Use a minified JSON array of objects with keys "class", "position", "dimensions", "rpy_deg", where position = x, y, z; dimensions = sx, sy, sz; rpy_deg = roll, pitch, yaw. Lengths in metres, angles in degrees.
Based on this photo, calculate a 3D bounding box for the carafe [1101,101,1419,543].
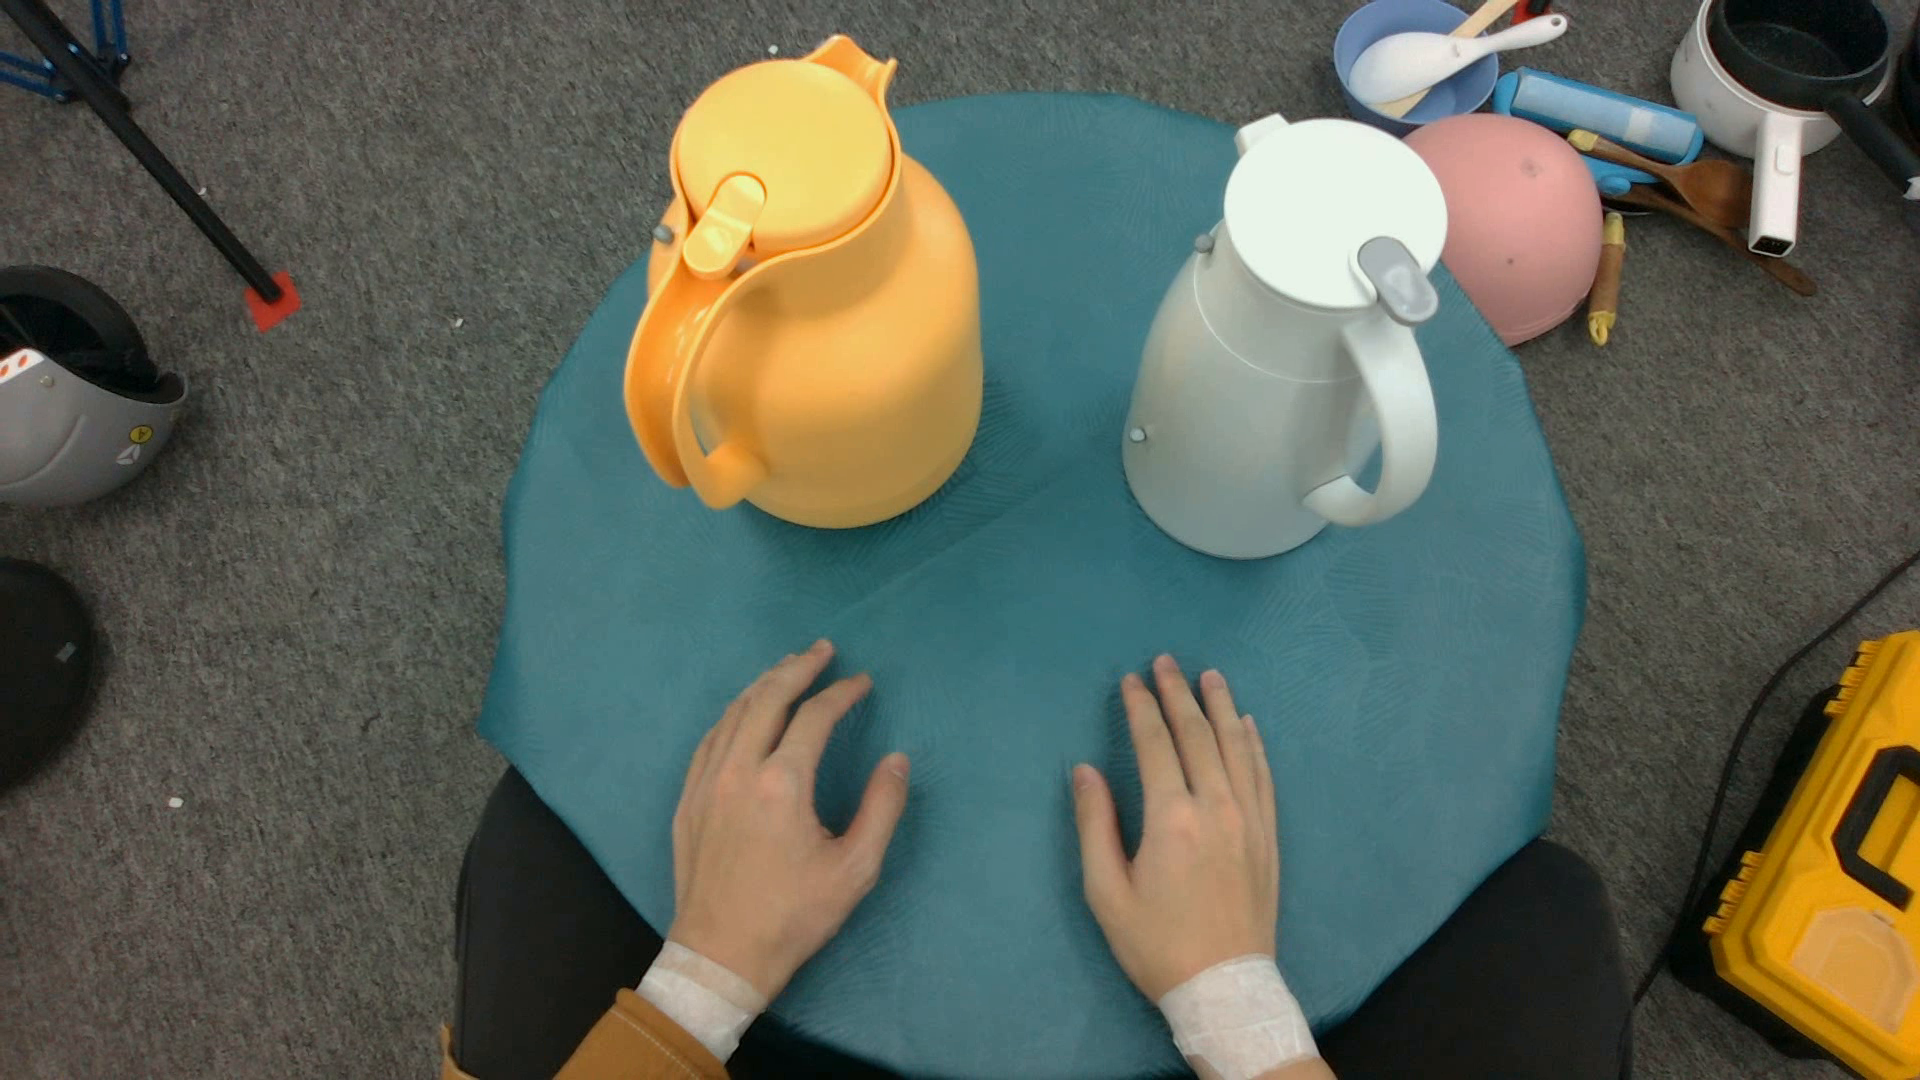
[{"class":"carafe","position":[0.156,-0.087,0.677],"dimensions":[0.133,0.248,0.168],"rpy_deg":[-24,71,-9]}]

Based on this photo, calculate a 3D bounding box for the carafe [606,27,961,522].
[{"class":"carafe","position":[-0.092,-0.108,0.678],"dimensions":[0.163,0.259,0.203],"rpy_deg":[28,70,12]}]
